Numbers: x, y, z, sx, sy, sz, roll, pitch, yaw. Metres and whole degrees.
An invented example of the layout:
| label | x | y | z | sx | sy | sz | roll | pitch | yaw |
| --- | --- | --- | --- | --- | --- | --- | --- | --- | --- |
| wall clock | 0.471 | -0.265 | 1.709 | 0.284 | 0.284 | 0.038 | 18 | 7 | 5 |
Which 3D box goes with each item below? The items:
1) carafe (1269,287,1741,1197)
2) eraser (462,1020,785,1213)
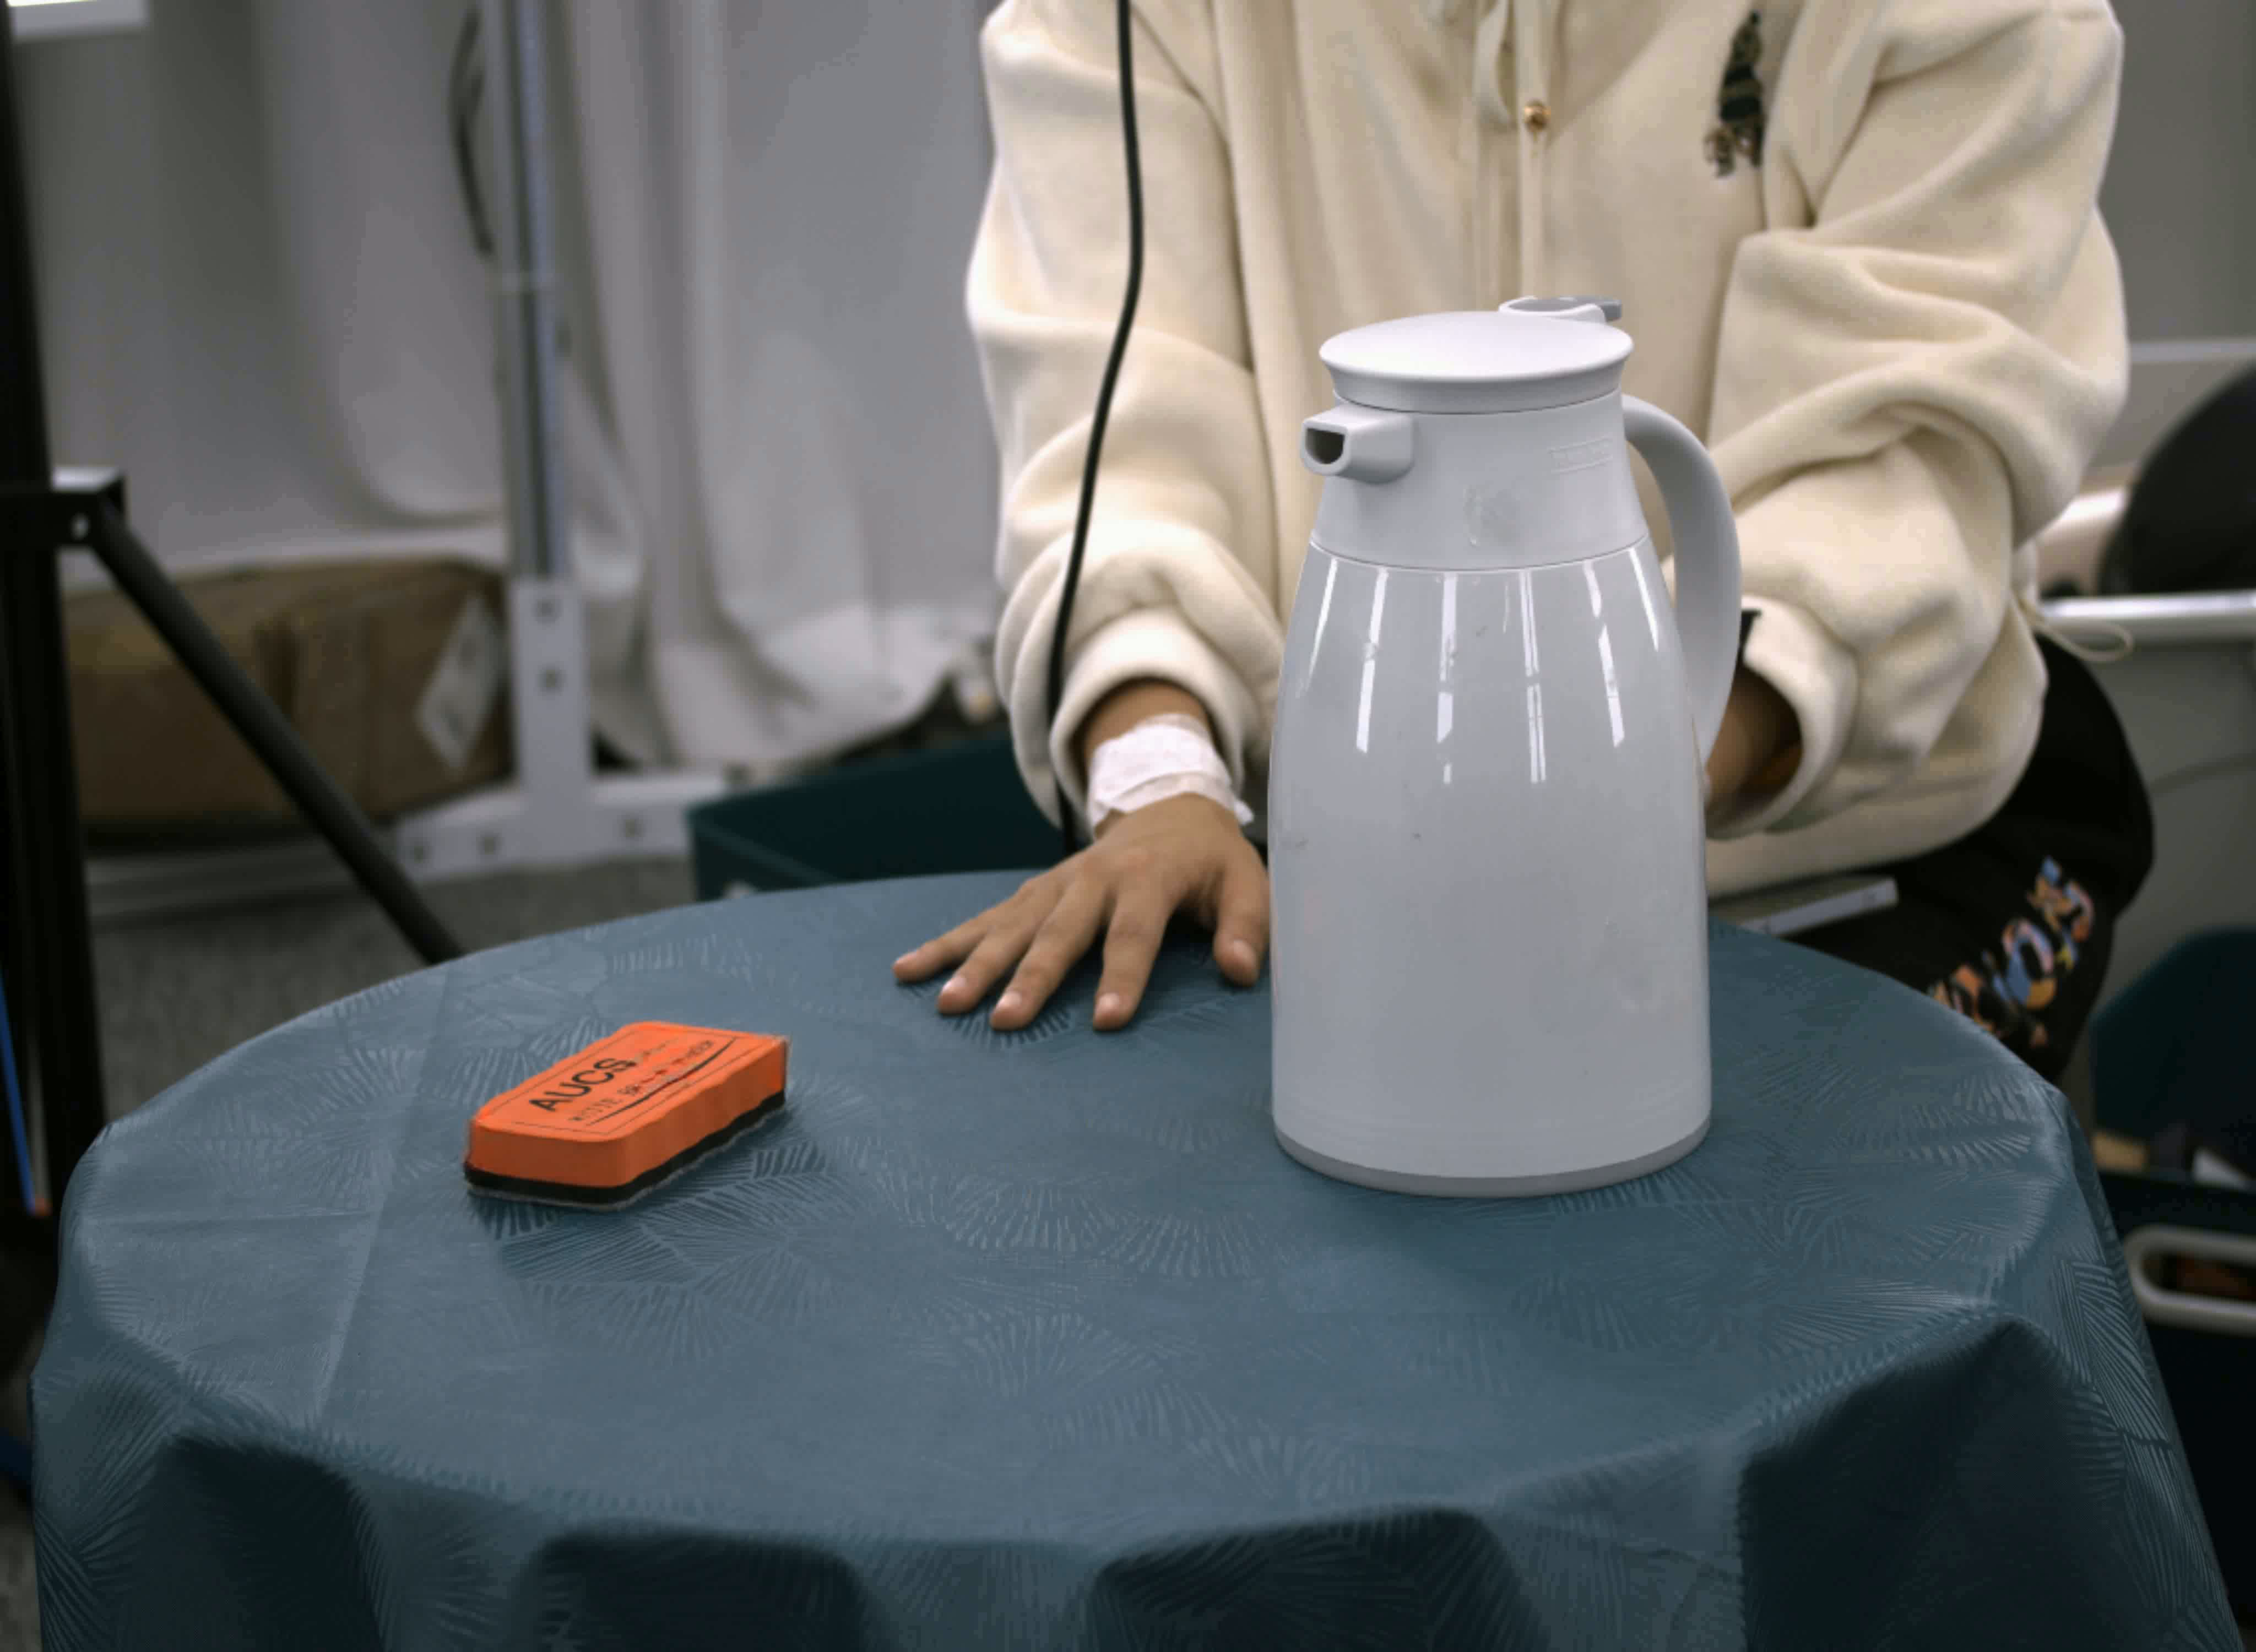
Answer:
| label | x | y | z | sx | sy | sz | roll | pitch | yaw |
| --- | --- | --- | --- | --- | --- | --- | --- | --- | --- |
| carafe | 0.119 | -0.032 | 1.579 | 0.164 | 0.249 | 0.135 | -14 | 19 | -40 |
| eraser | -0.152 | 0.087 | 1.614 | 0.060 | 0.023 | 0.106 | 8 | 19 | 26 |
